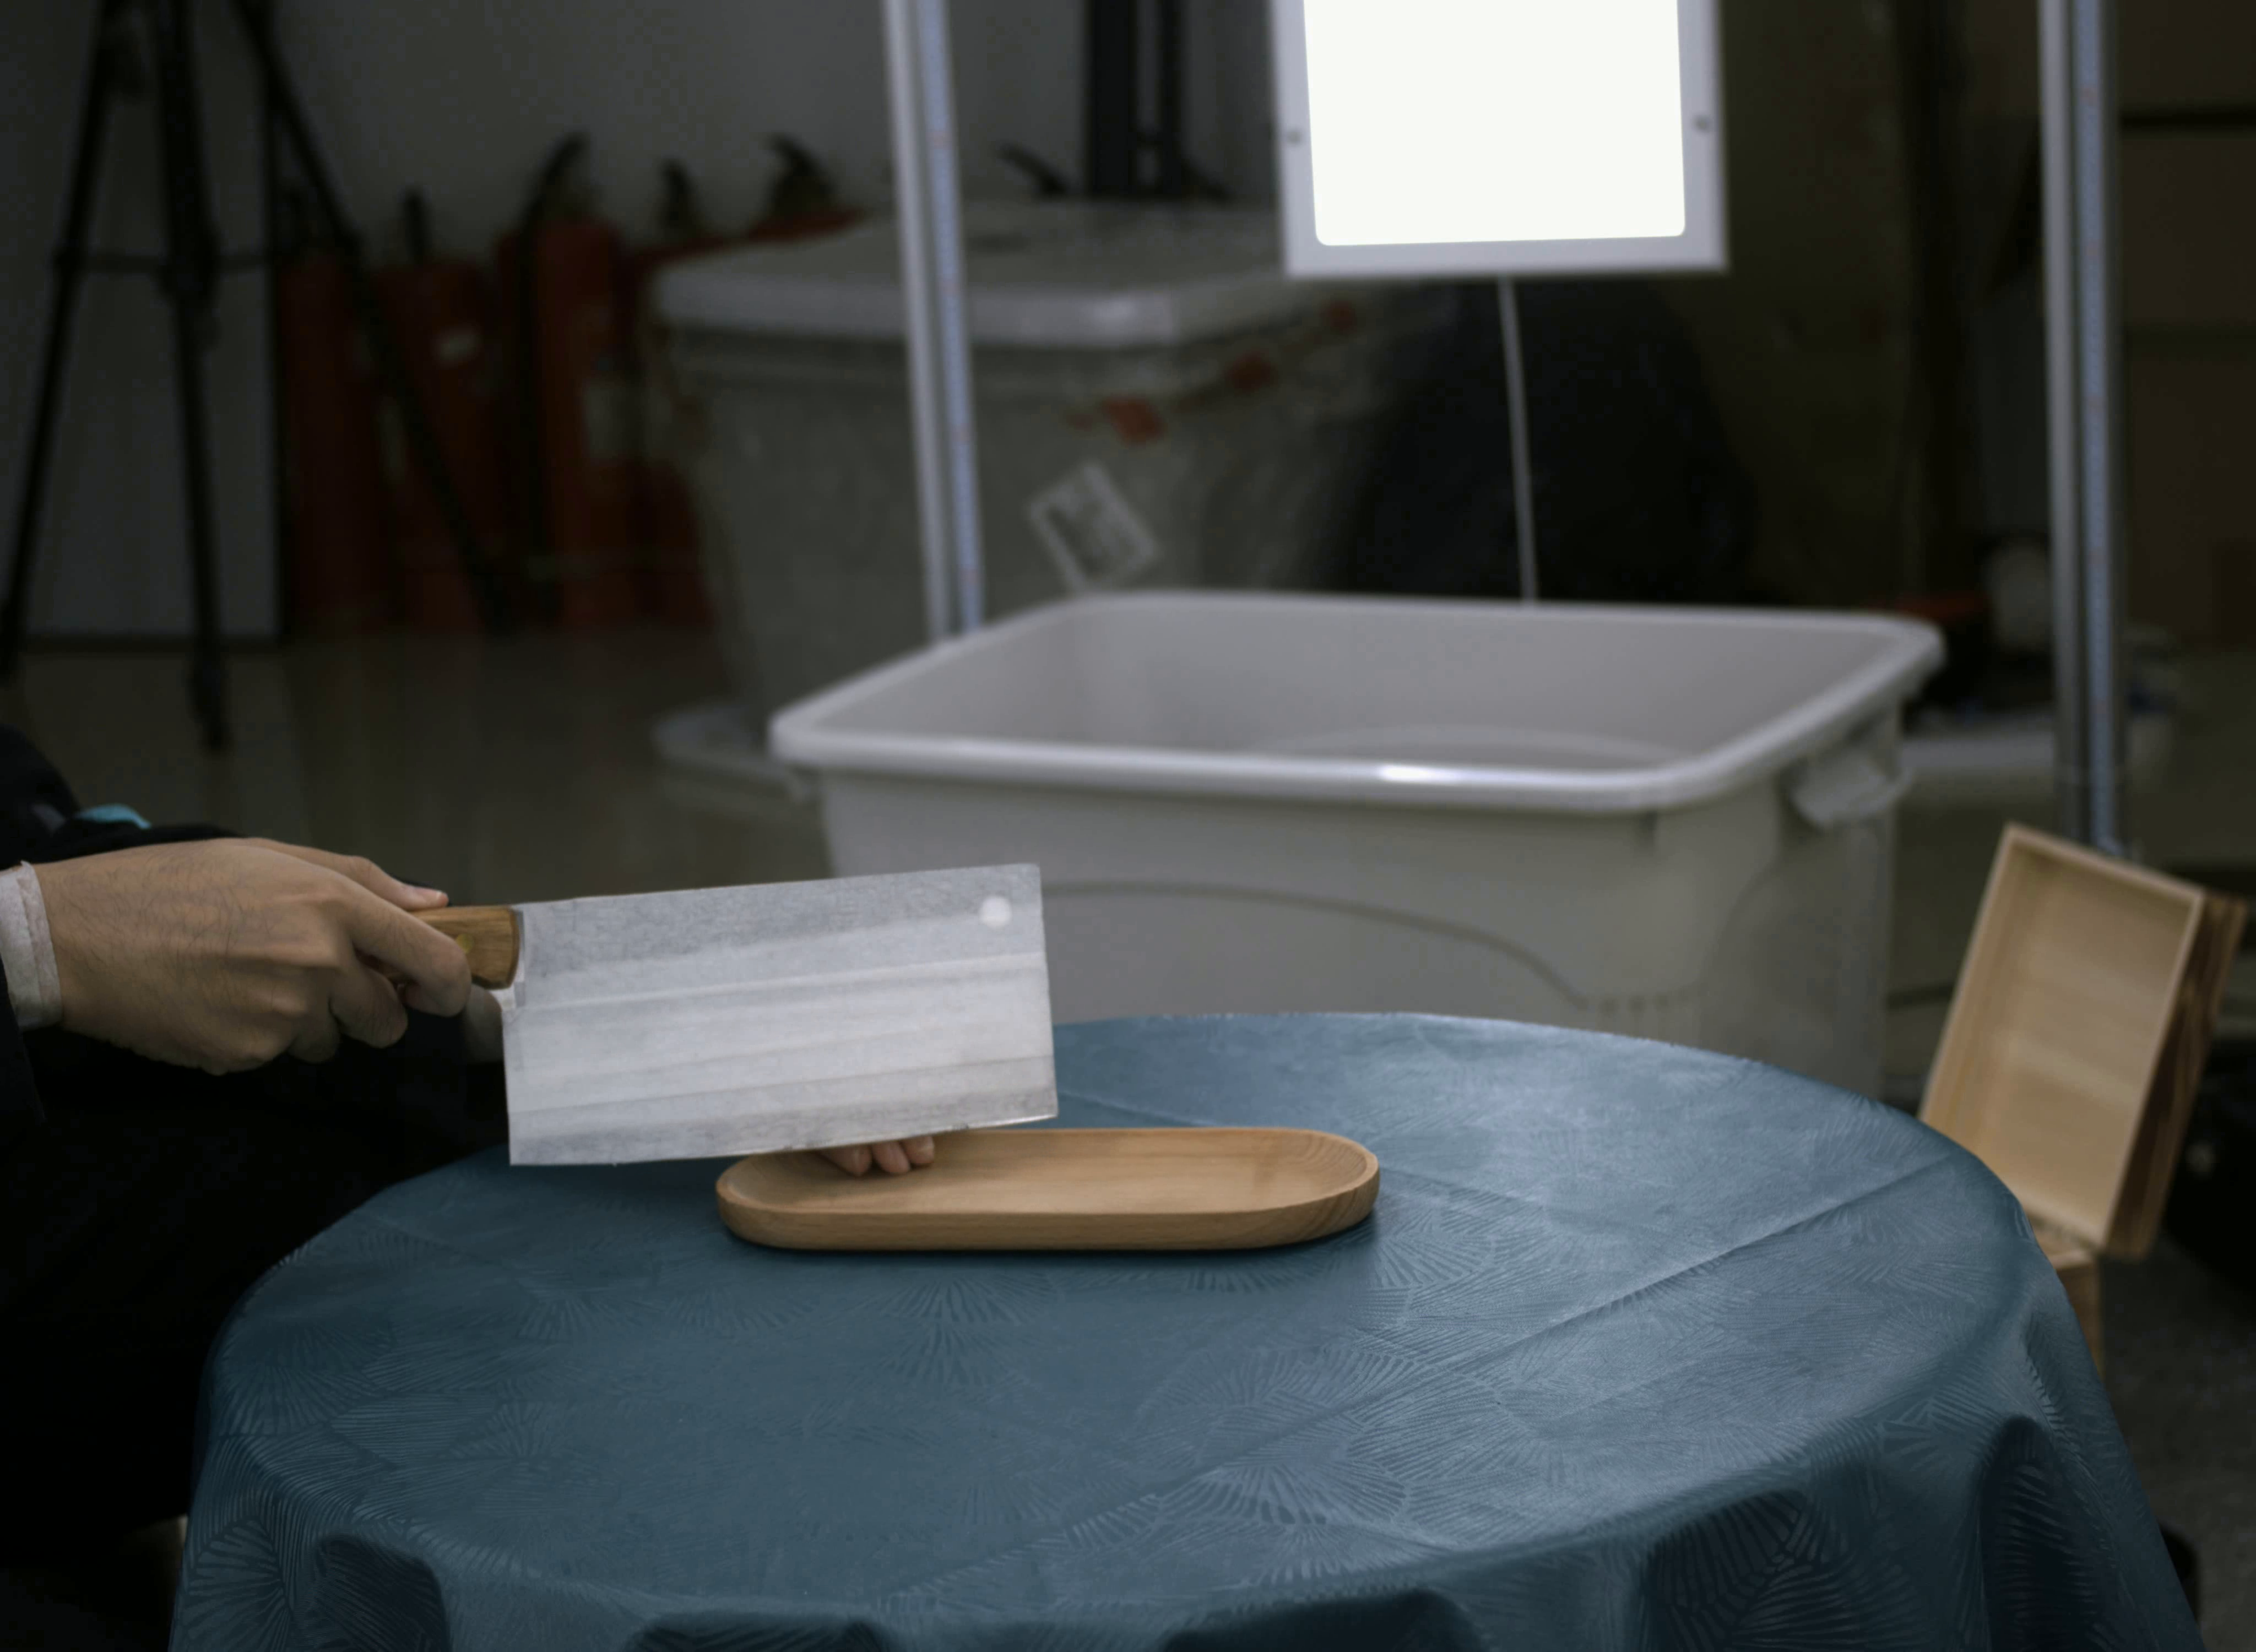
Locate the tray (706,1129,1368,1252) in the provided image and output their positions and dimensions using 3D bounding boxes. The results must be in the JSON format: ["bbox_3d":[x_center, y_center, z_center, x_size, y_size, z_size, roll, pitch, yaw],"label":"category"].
[{"bbox_3d":[-0.031,0.125,1.880,0.233,0.020,0.100,-2,12,16],"label":"tray"}]

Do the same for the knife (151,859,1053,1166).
[{"bbox_3d":[-0.176,0.067,1.881,0.303,0.093,0.021,-5,2,-7],"label":"knife"}]
